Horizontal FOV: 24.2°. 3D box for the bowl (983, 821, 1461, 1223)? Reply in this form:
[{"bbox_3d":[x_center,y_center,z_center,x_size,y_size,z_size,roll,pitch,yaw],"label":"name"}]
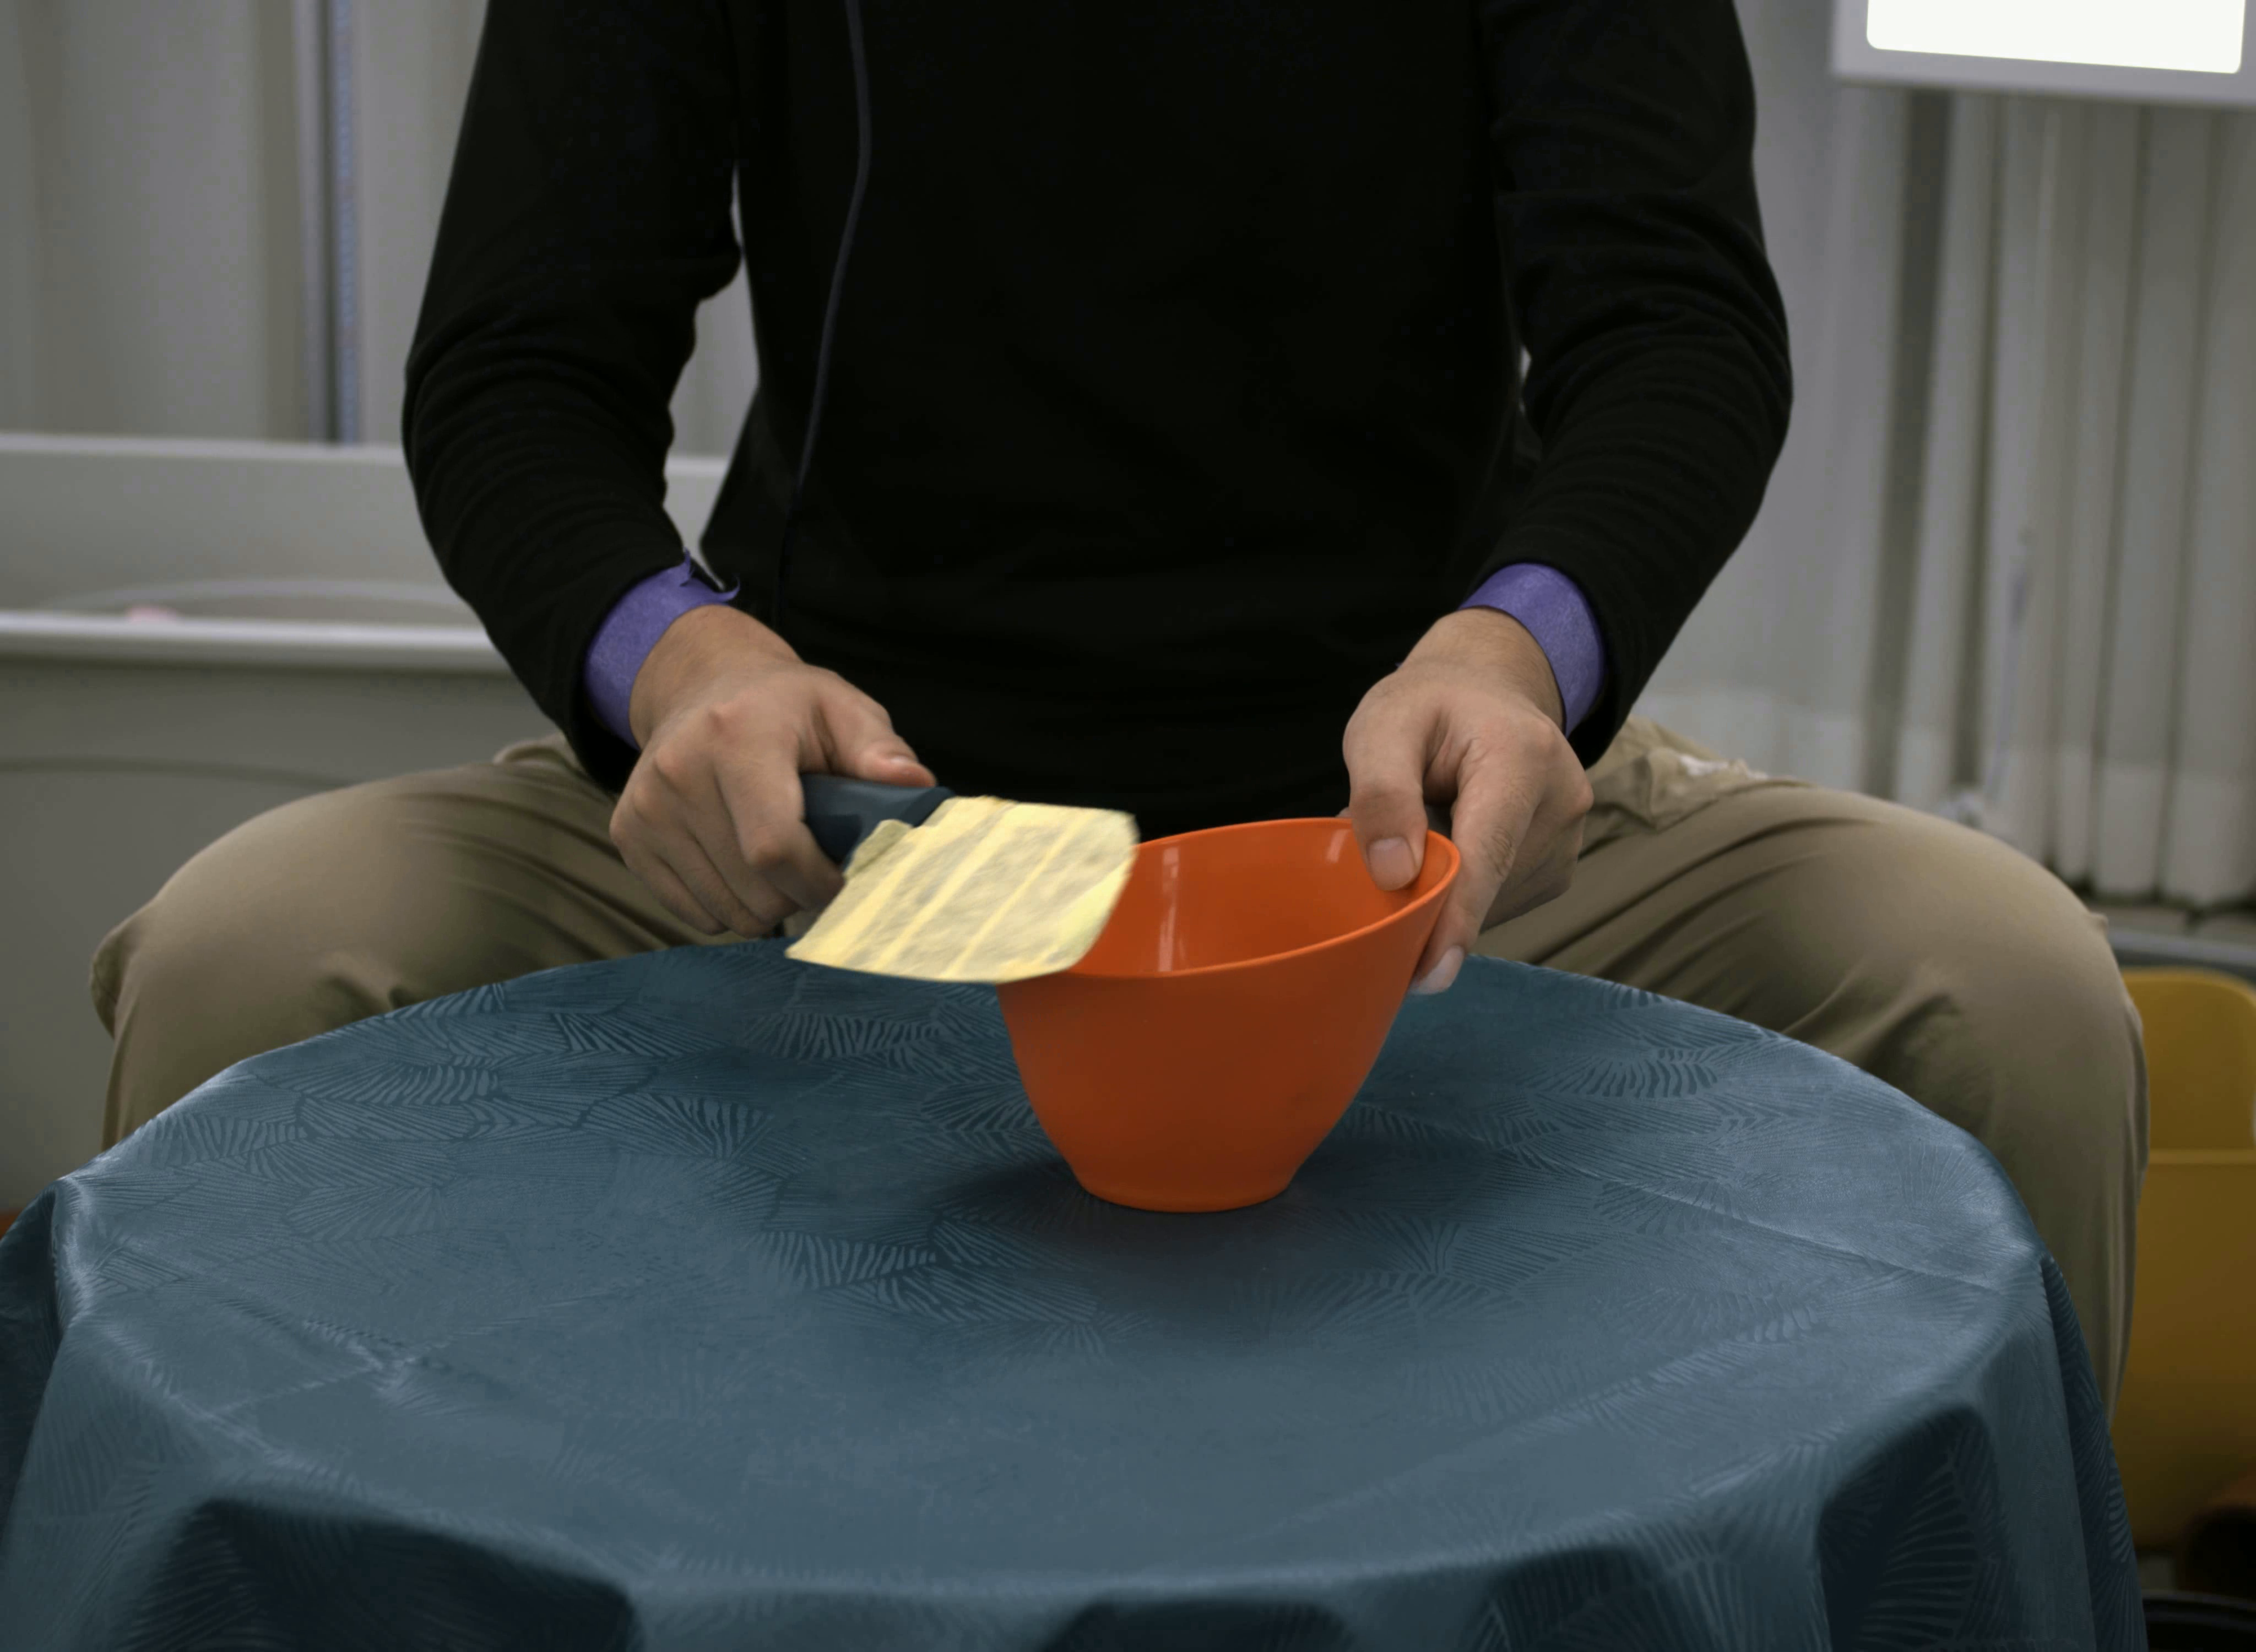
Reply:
[{"bbox_3d":[0.030,0.062,1.620,0.147,0.105,0.147,-2,16,1],"label":"bowl"}]

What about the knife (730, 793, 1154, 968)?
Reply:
[{"bbox_3d":[-0.067,0.016,1.640,0.081,0.027,0.287,-45,20,-18],"label":"knife"}]
